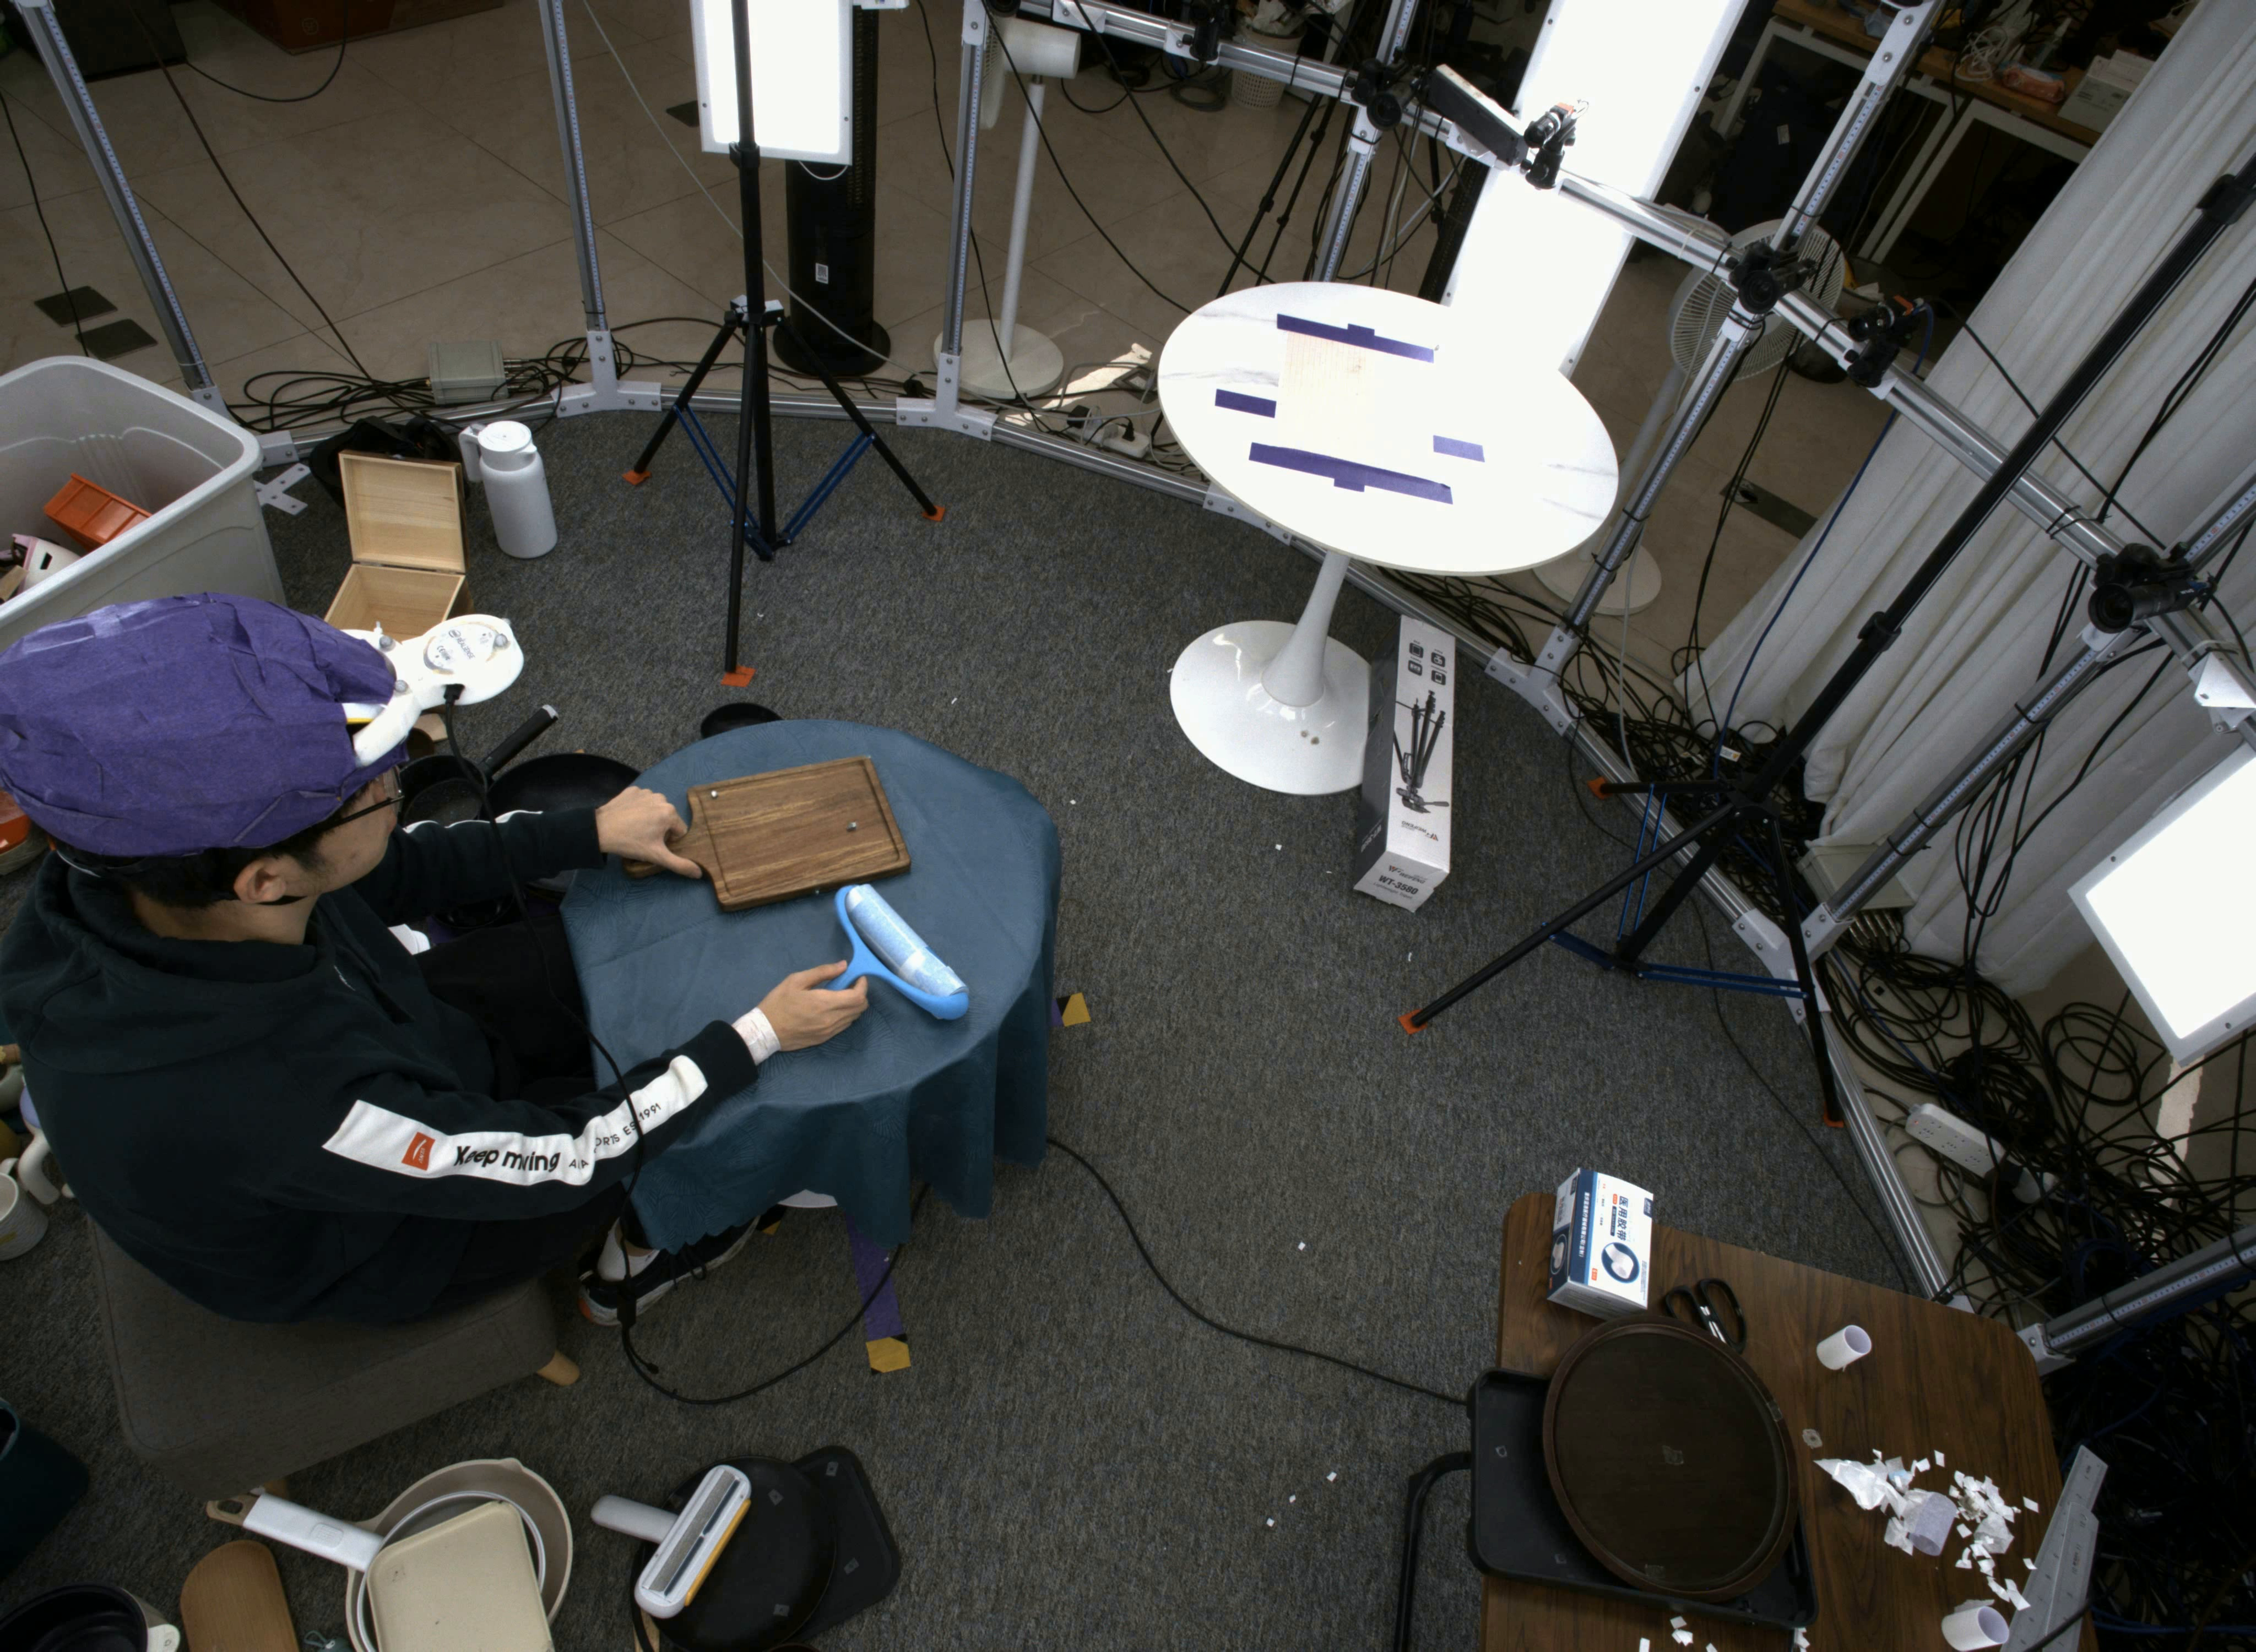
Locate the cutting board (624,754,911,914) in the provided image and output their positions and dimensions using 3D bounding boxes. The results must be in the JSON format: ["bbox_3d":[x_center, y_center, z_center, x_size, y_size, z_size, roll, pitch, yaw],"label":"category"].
[{"bbox_3d":[-0.478,0.014,1.683,0.354,0.023,0.196,-13,59,-26],"label":"cutting board"}]

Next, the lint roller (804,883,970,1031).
[{"bbox_3d":[-0.319,0.180,1.588,0.224,0.069,0.180,41,54,15],"label":"lint roller"}]
